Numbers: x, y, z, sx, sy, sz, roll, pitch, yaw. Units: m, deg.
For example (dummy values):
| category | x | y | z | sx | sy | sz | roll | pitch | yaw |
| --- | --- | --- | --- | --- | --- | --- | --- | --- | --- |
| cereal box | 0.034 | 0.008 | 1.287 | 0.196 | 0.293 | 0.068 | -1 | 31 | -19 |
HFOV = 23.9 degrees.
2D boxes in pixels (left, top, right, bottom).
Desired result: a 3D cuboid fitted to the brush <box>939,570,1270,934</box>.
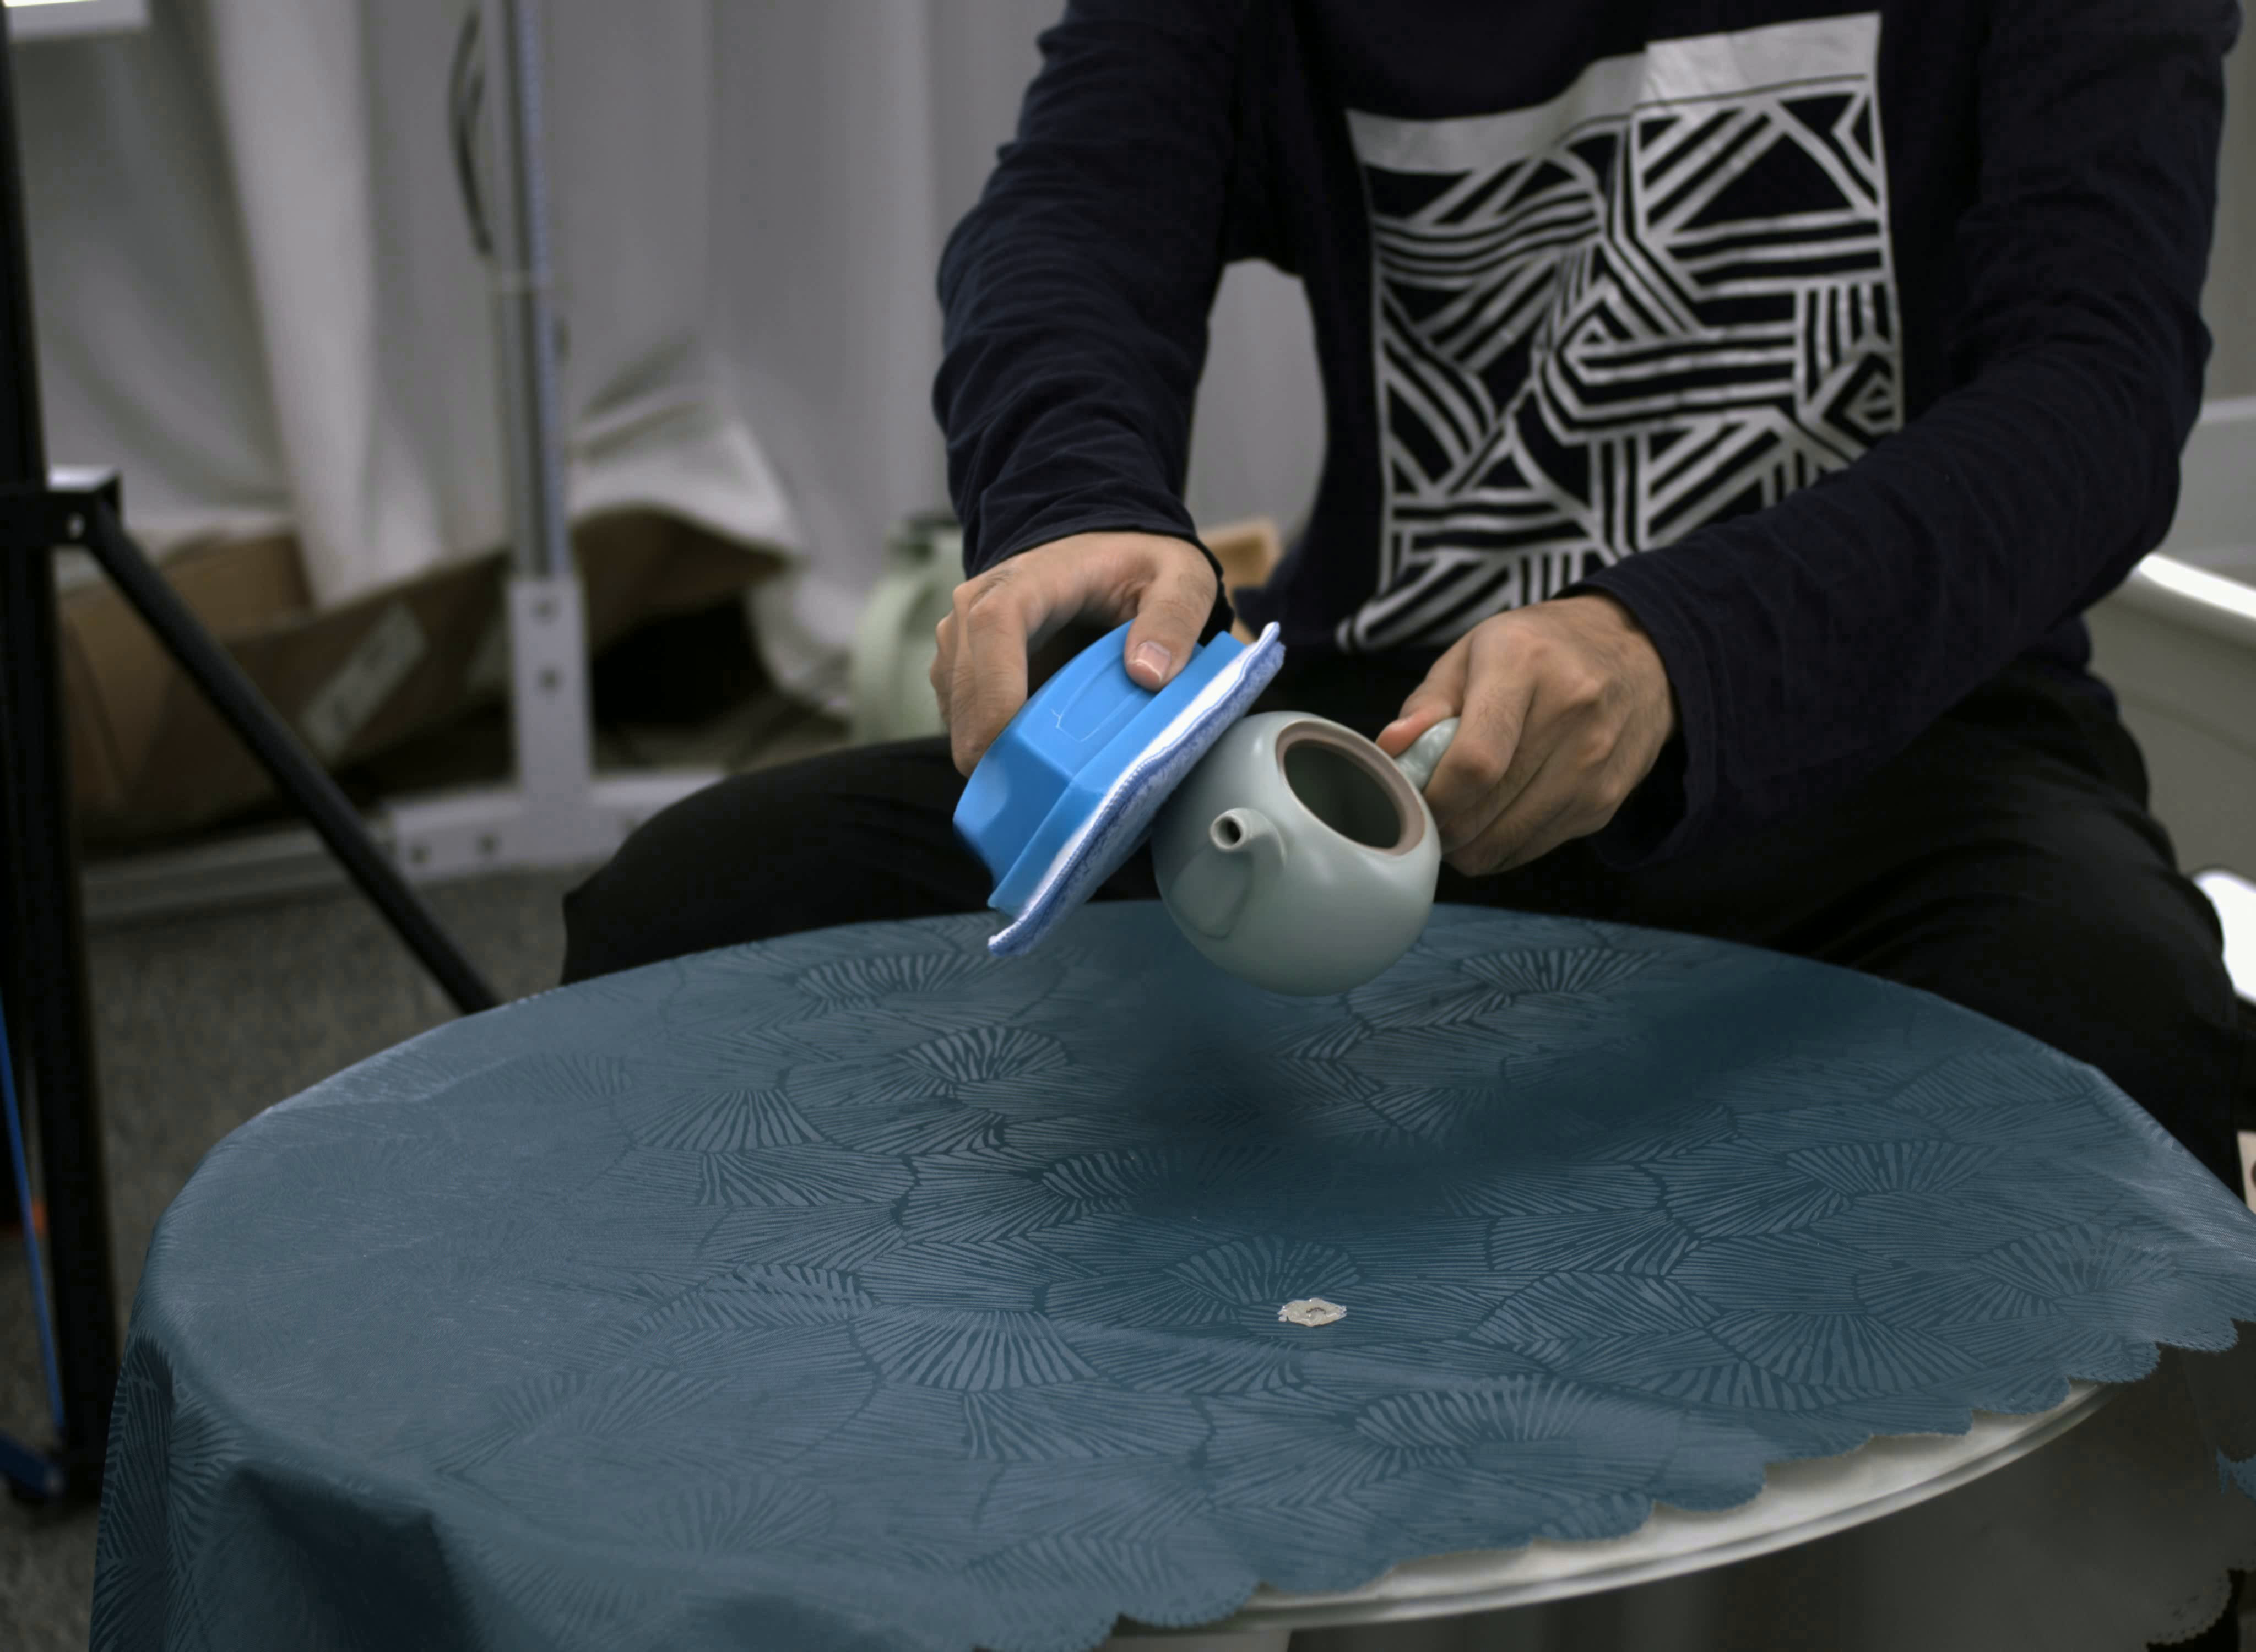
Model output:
| category | x | y | z | sx | sy | sz | roll | pitch | yaw |
| --- | --- | --- | --- | --- | --- | --- | --- | --- | --- |
| brush | -0.013 | -0.028 | 1.581 | 0.056 | 0.084 | 0.143 | 39 | 34 | -1 |

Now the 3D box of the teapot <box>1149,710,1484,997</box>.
| category | x | y | z | sx | sy | sz | roll | pitch | yaw |
| --- | --- | --- | --- | --- | --- | --- | --- | --- | --- |
| teapot | 0.050 | 0.008 | 1.585 | 0.140 | 0.075 | 0.089 | -19 | 62 | -48 |
